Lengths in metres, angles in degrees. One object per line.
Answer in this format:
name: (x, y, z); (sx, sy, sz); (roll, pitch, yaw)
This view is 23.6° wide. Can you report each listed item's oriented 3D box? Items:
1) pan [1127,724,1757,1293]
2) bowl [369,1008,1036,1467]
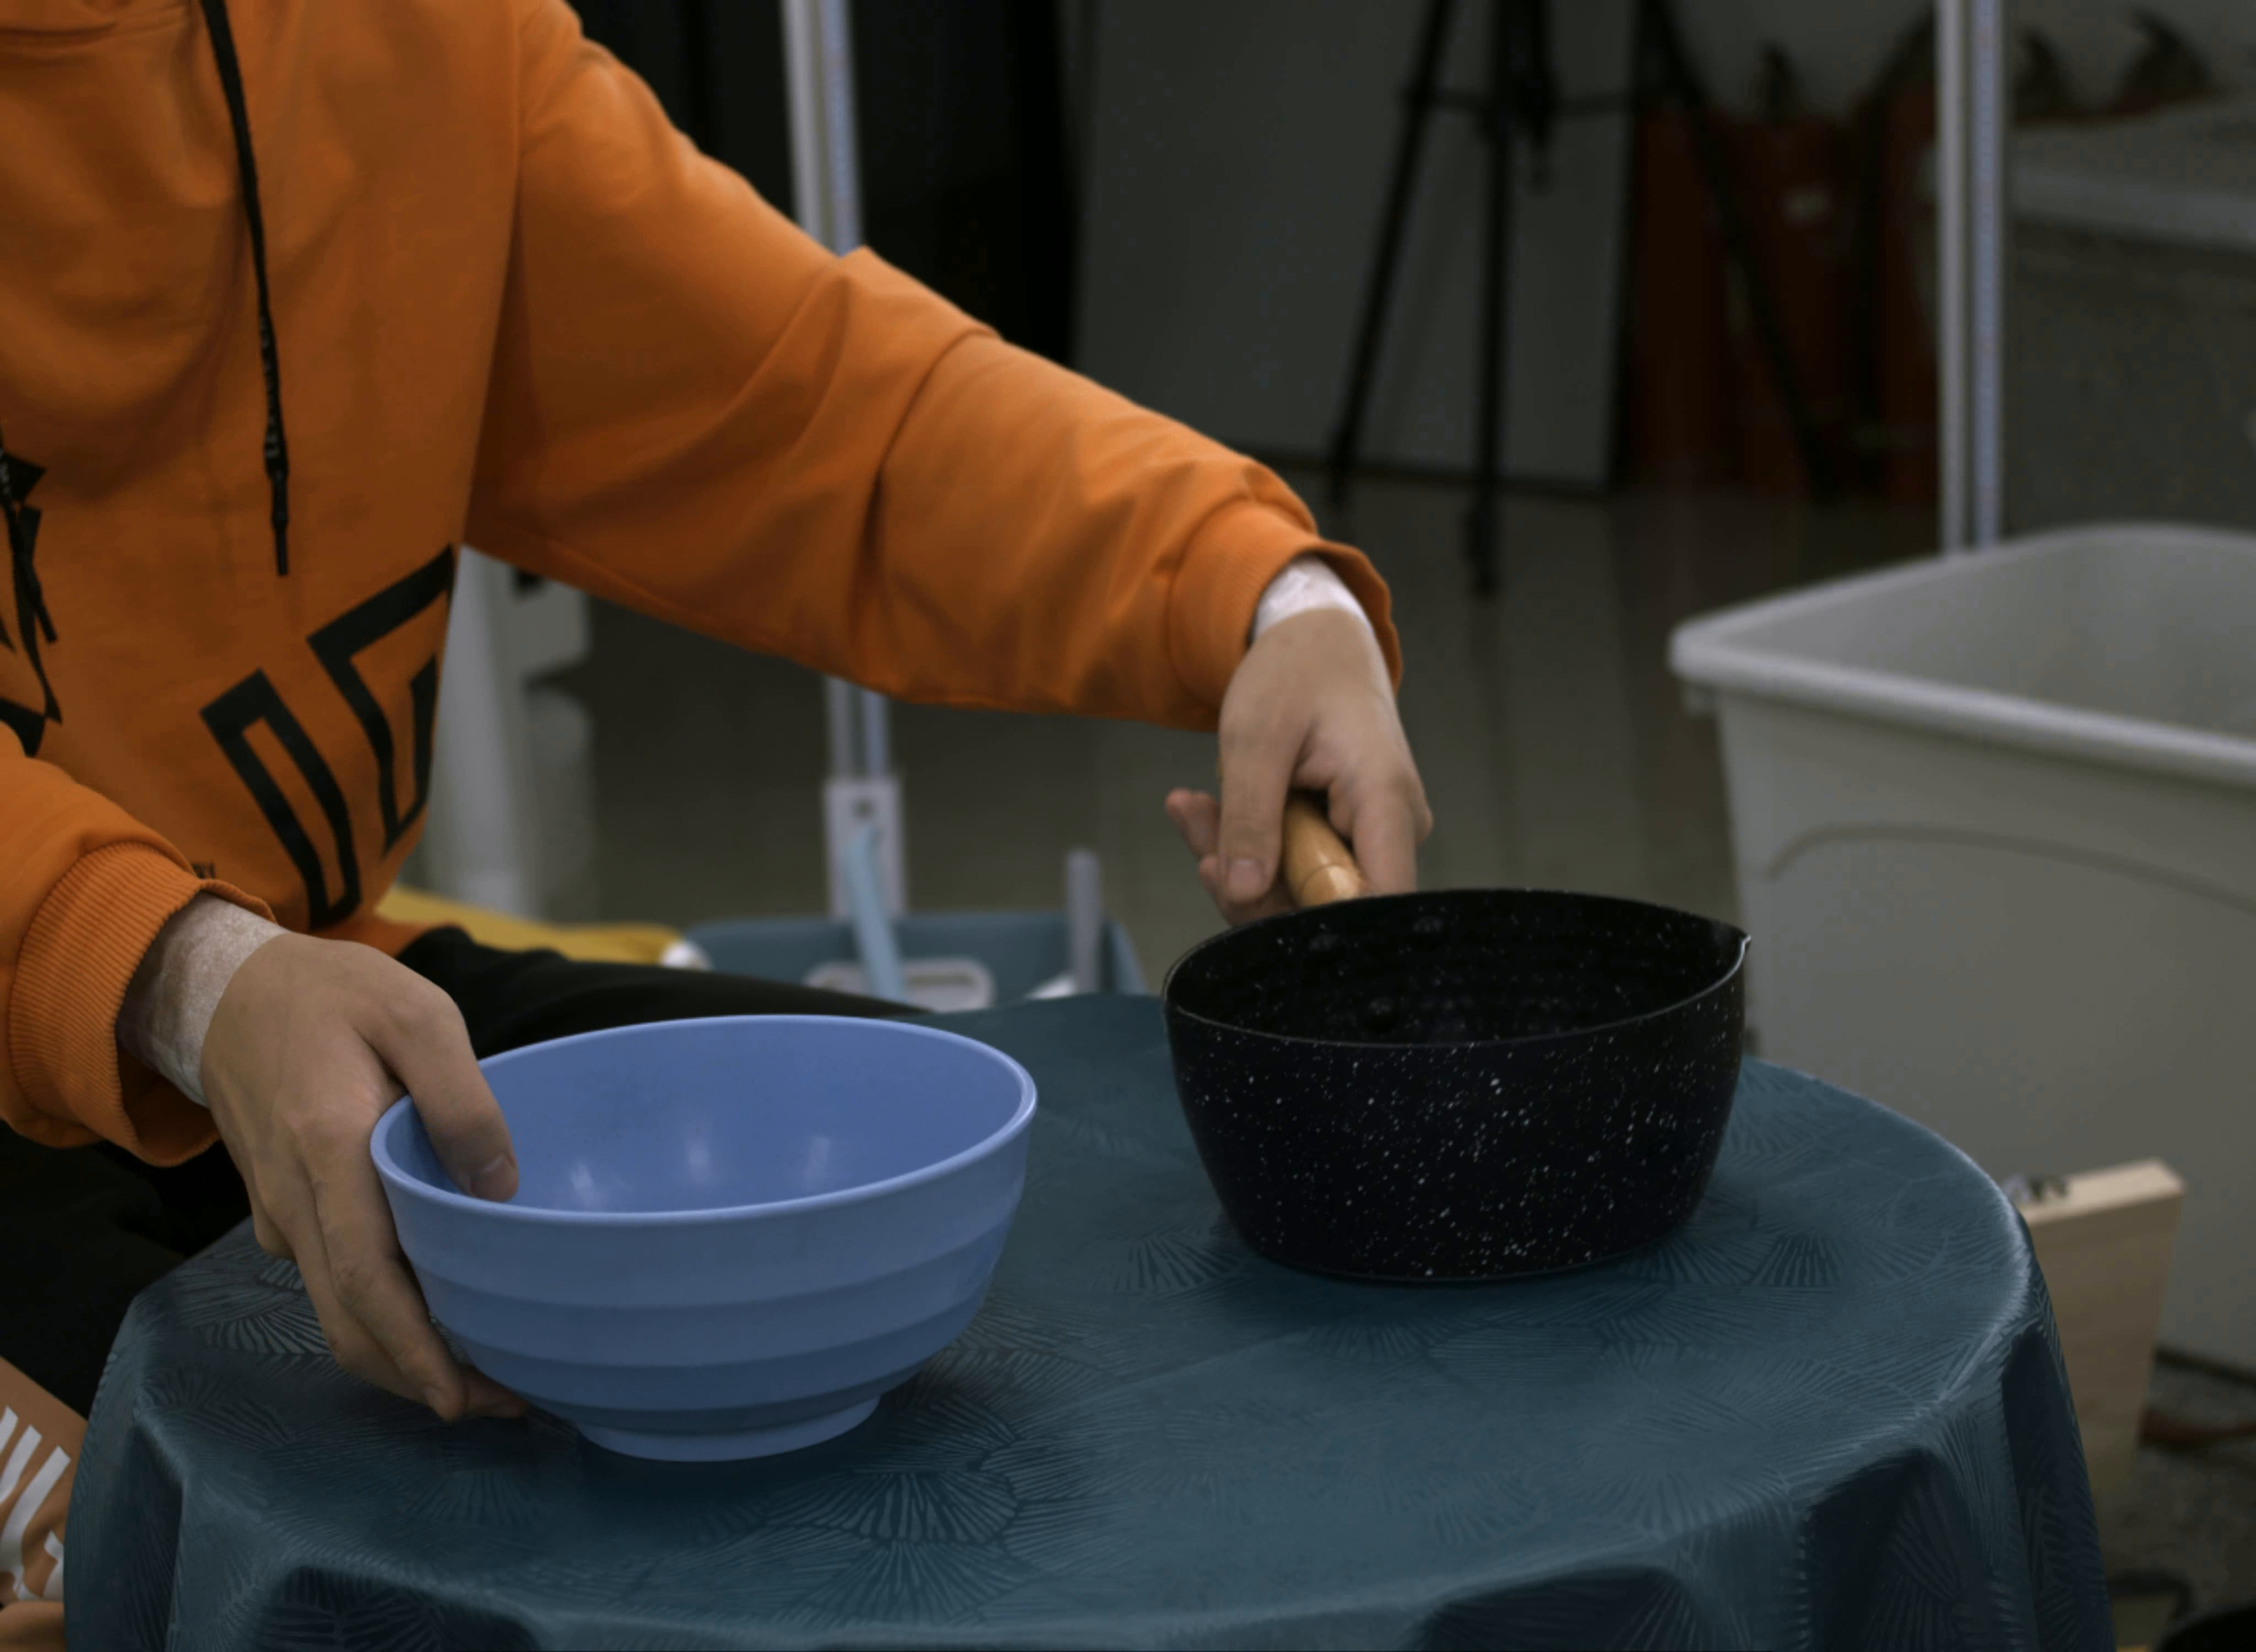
pan: (0.085, 0.055, 1.787); (0.203, 0.109, 0.345); (-8, 15, -13)
bowl: (-0.120, 0.126, 1.584); (0.194, 0.096, 0.197); (-4, 14, 0)
